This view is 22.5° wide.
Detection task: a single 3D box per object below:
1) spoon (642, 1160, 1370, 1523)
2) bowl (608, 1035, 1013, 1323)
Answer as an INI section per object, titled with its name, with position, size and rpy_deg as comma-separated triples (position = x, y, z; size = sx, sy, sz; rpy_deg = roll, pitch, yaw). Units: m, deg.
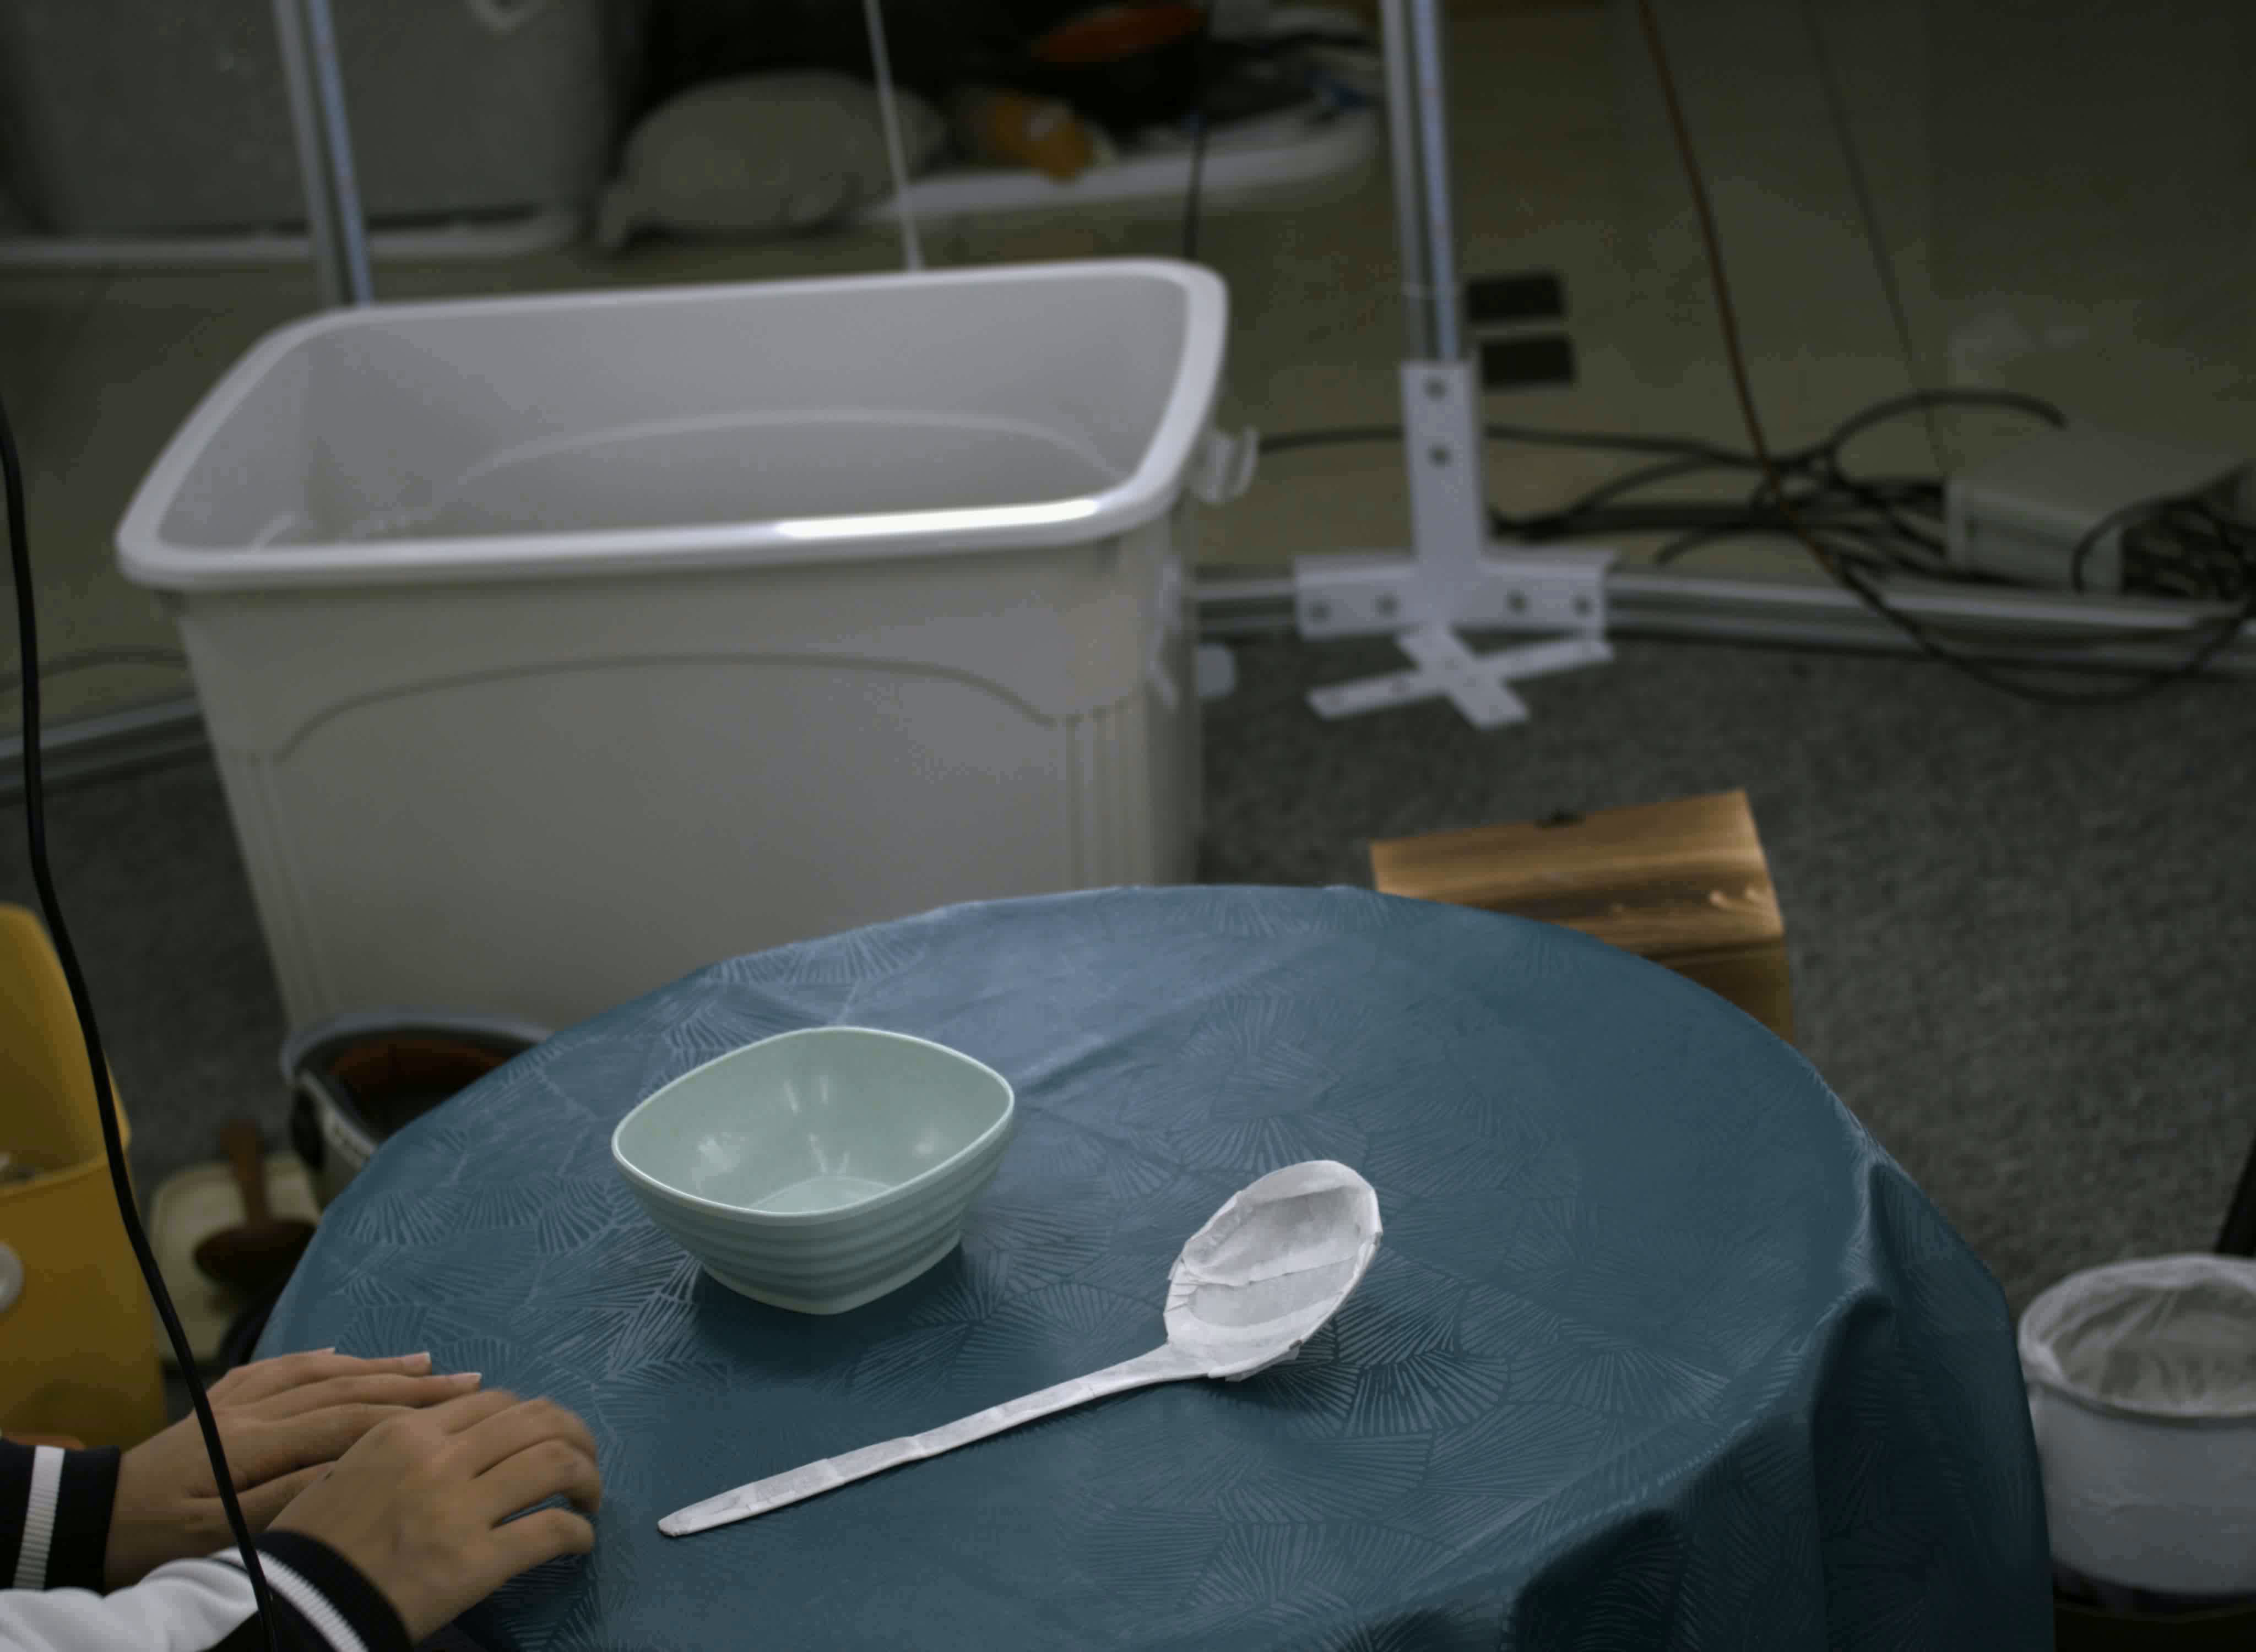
[spoon]
position = -0.044, 0.180, 2.001
size = 0.276, 0.060, 0.099
rpy_deg = -14, 21, -16
[bowl]
position = -0.115, 0.137, 2.118
size = 0.151, 0.059, 0.149
rpy_deg = -5, 25, 2
